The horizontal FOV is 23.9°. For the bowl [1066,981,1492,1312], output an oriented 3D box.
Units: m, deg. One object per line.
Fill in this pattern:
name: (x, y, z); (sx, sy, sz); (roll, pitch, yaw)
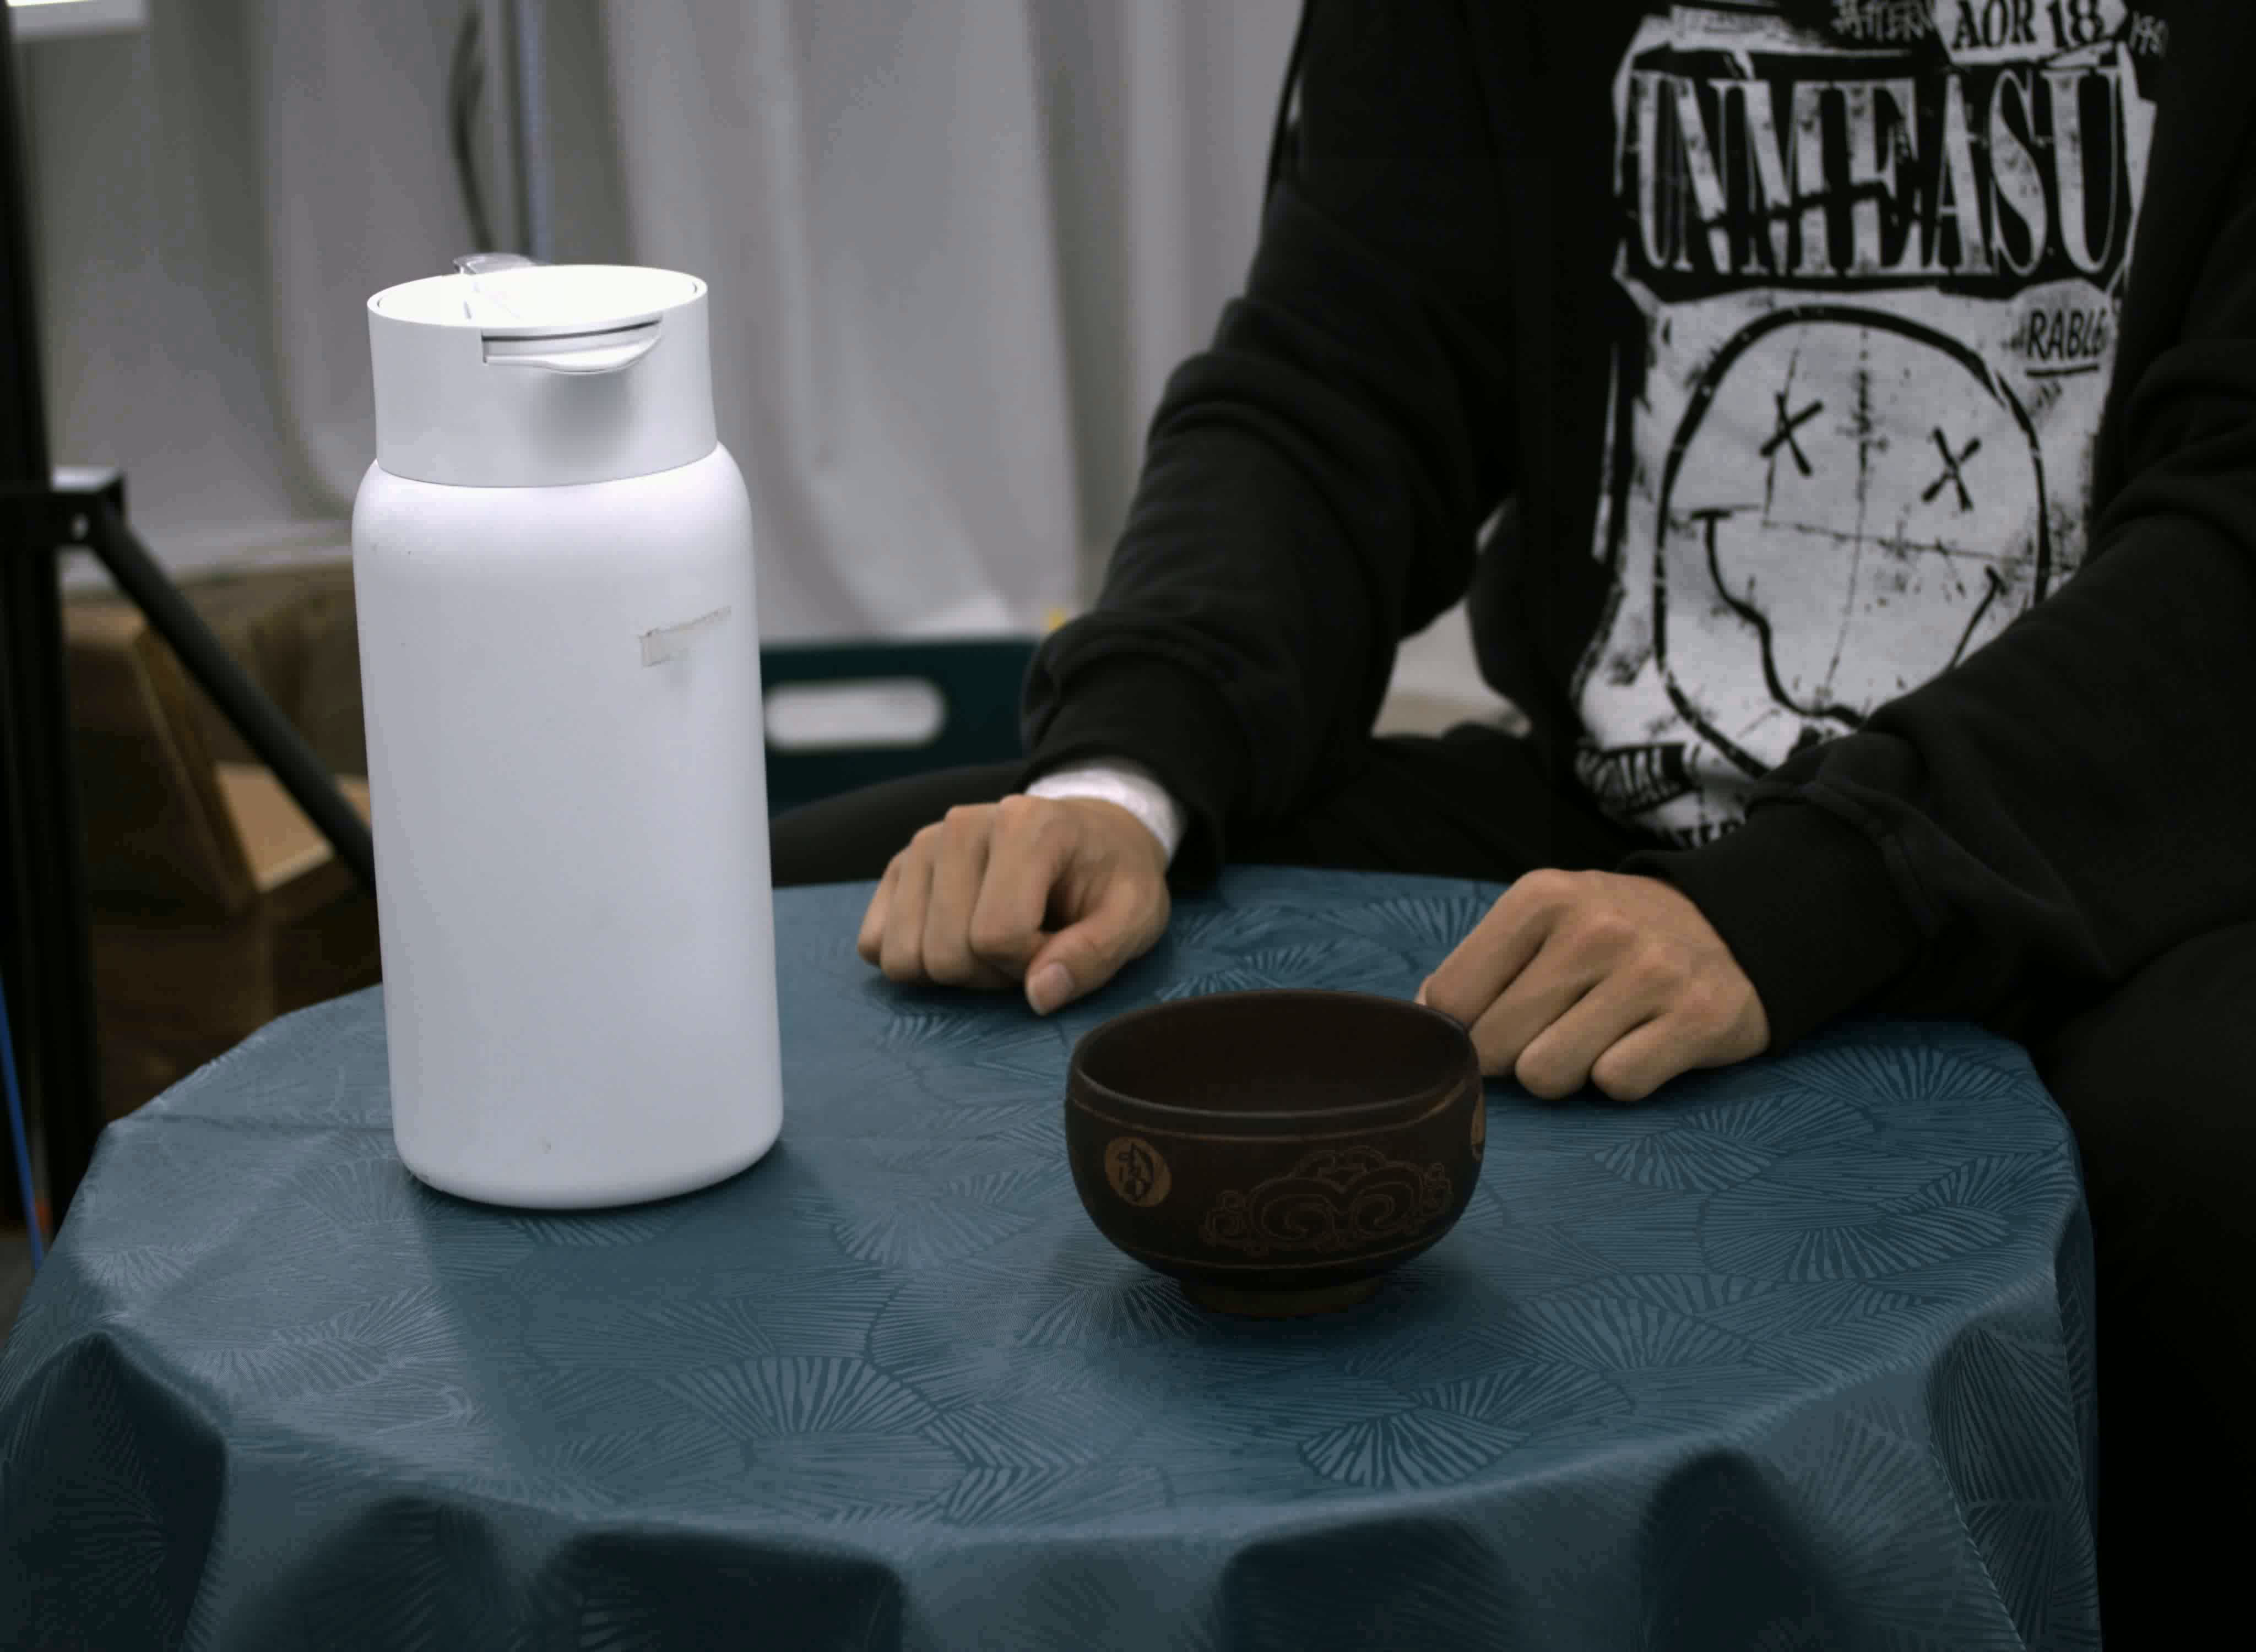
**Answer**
bowl: (0.043, 0.092, 1.467); (0.117, 0.070, 0.118); (-3, 15, -1)

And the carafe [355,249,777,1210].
carafe: (-0.173, -0.032, 1.592); (0.121, 0.269, 0.176); (-9, 16, -19)
